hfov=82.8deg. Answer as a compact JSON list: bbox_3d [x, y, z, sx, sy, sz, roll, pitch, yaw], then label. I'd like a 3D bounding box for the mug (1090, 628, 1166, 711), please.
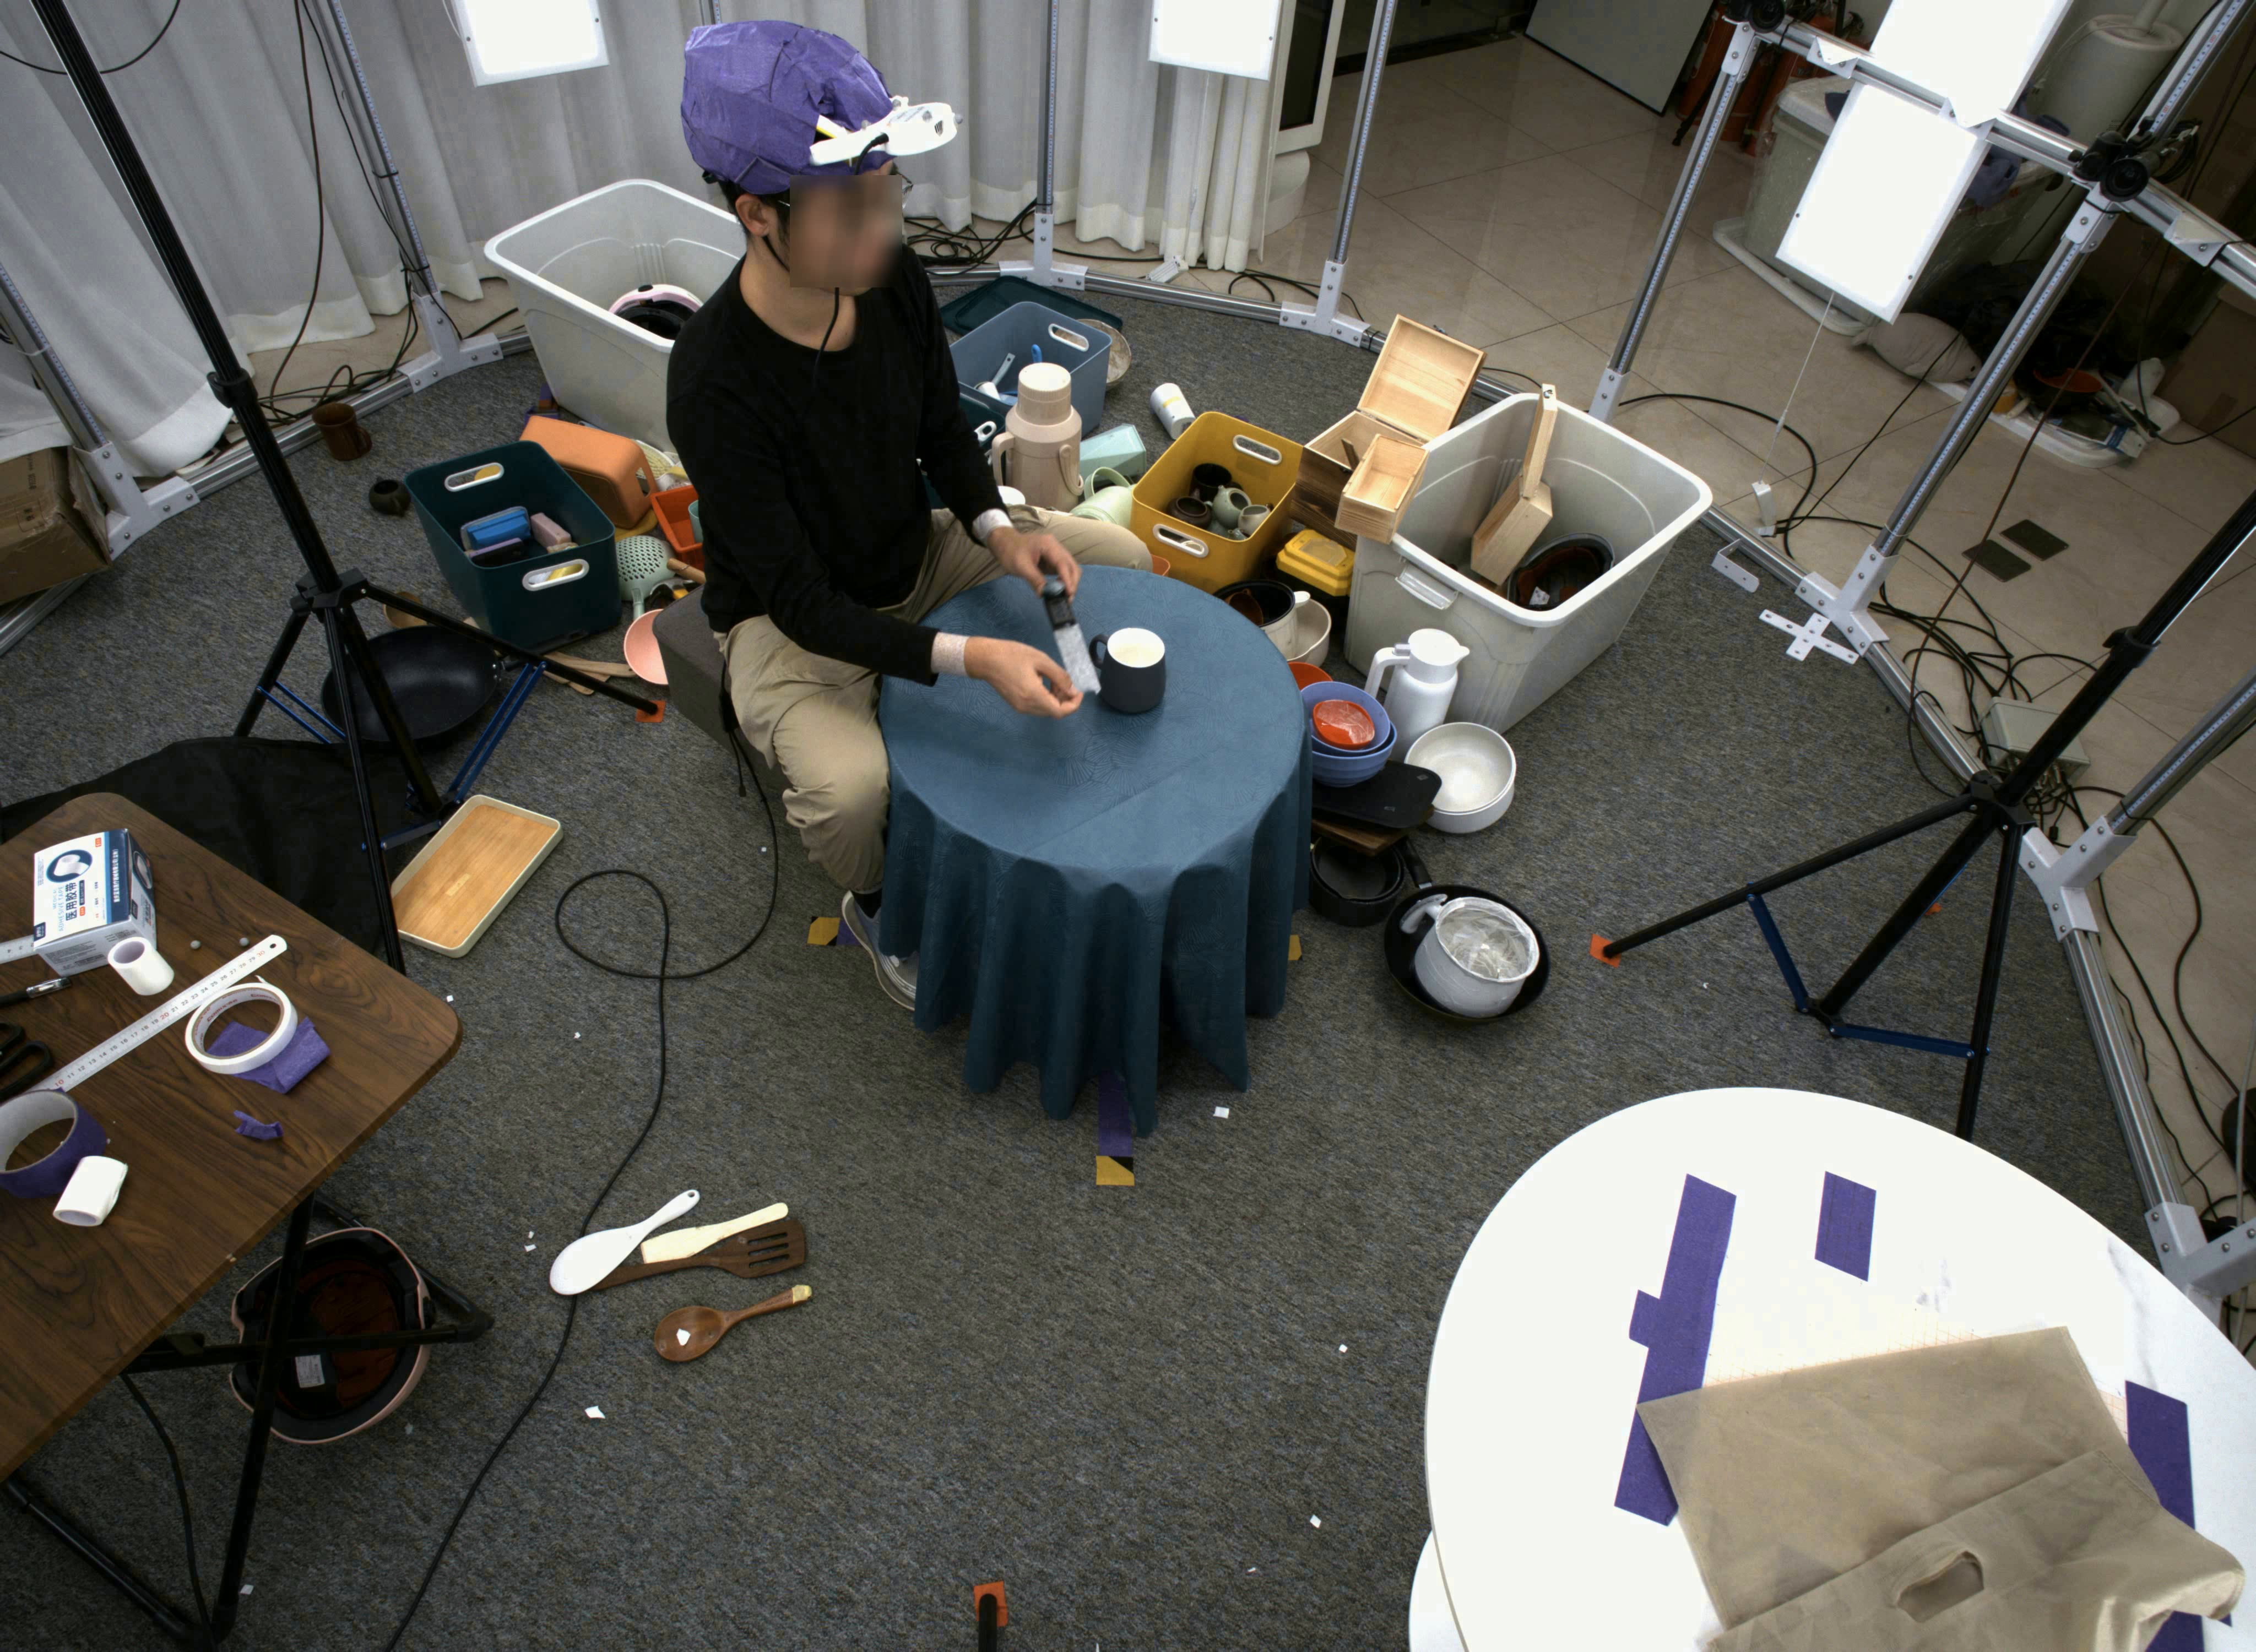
[{"bbox_3d":[-0.003,-0.228,1.807,0.125,0.088,0.094,35,54,22],"label":"mug"}]

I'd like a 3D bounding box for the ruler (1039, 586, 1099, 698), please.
[{"bbox_3d":[-0.084,-0.253,1.739,0.038,0.023,0.224,-18,46,-1],"label":"ruler"}]
